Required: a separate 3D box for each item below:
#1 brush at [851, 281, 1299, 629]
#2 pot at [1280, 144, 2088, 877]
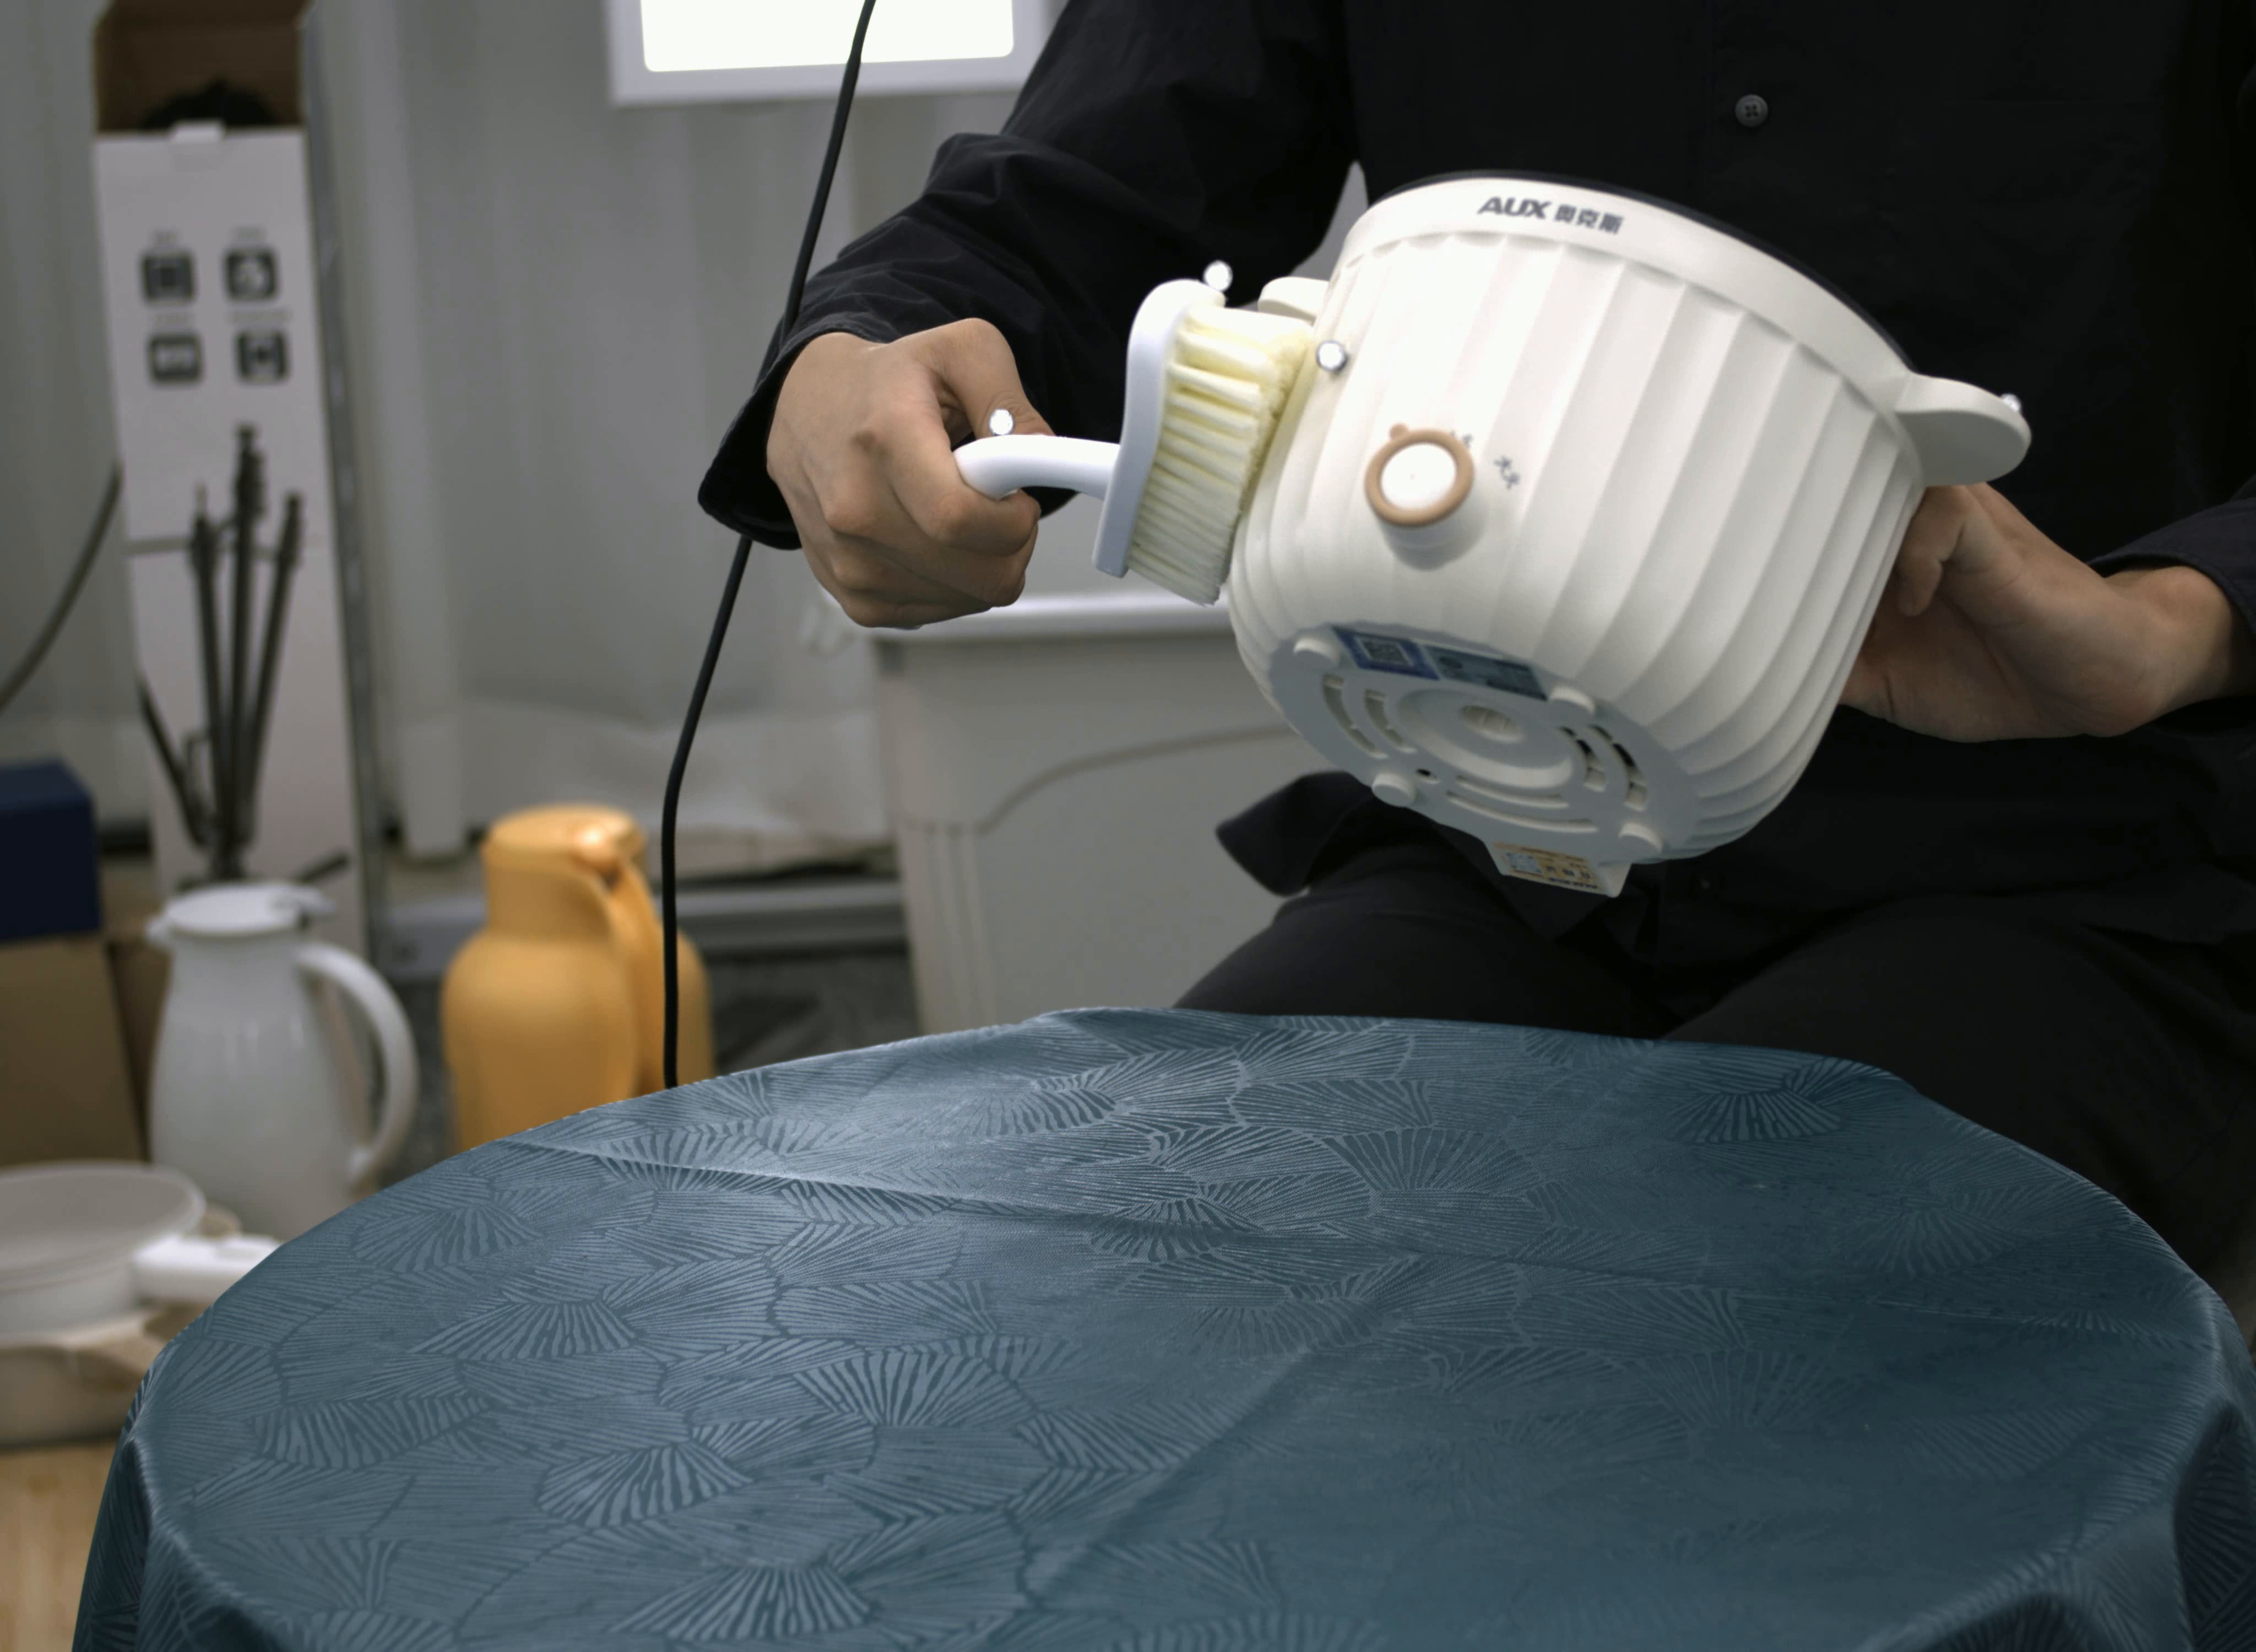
[{"bbox_3d":[-0.003,-0.099,1.675,0.083,0.085,0.324,-31,-2,-20],"label":"brush"},{"bbox_3d":[0.137,-0.087,1.543,0.241,0.188,0.144,11,63,25],"label":"pot"}]
